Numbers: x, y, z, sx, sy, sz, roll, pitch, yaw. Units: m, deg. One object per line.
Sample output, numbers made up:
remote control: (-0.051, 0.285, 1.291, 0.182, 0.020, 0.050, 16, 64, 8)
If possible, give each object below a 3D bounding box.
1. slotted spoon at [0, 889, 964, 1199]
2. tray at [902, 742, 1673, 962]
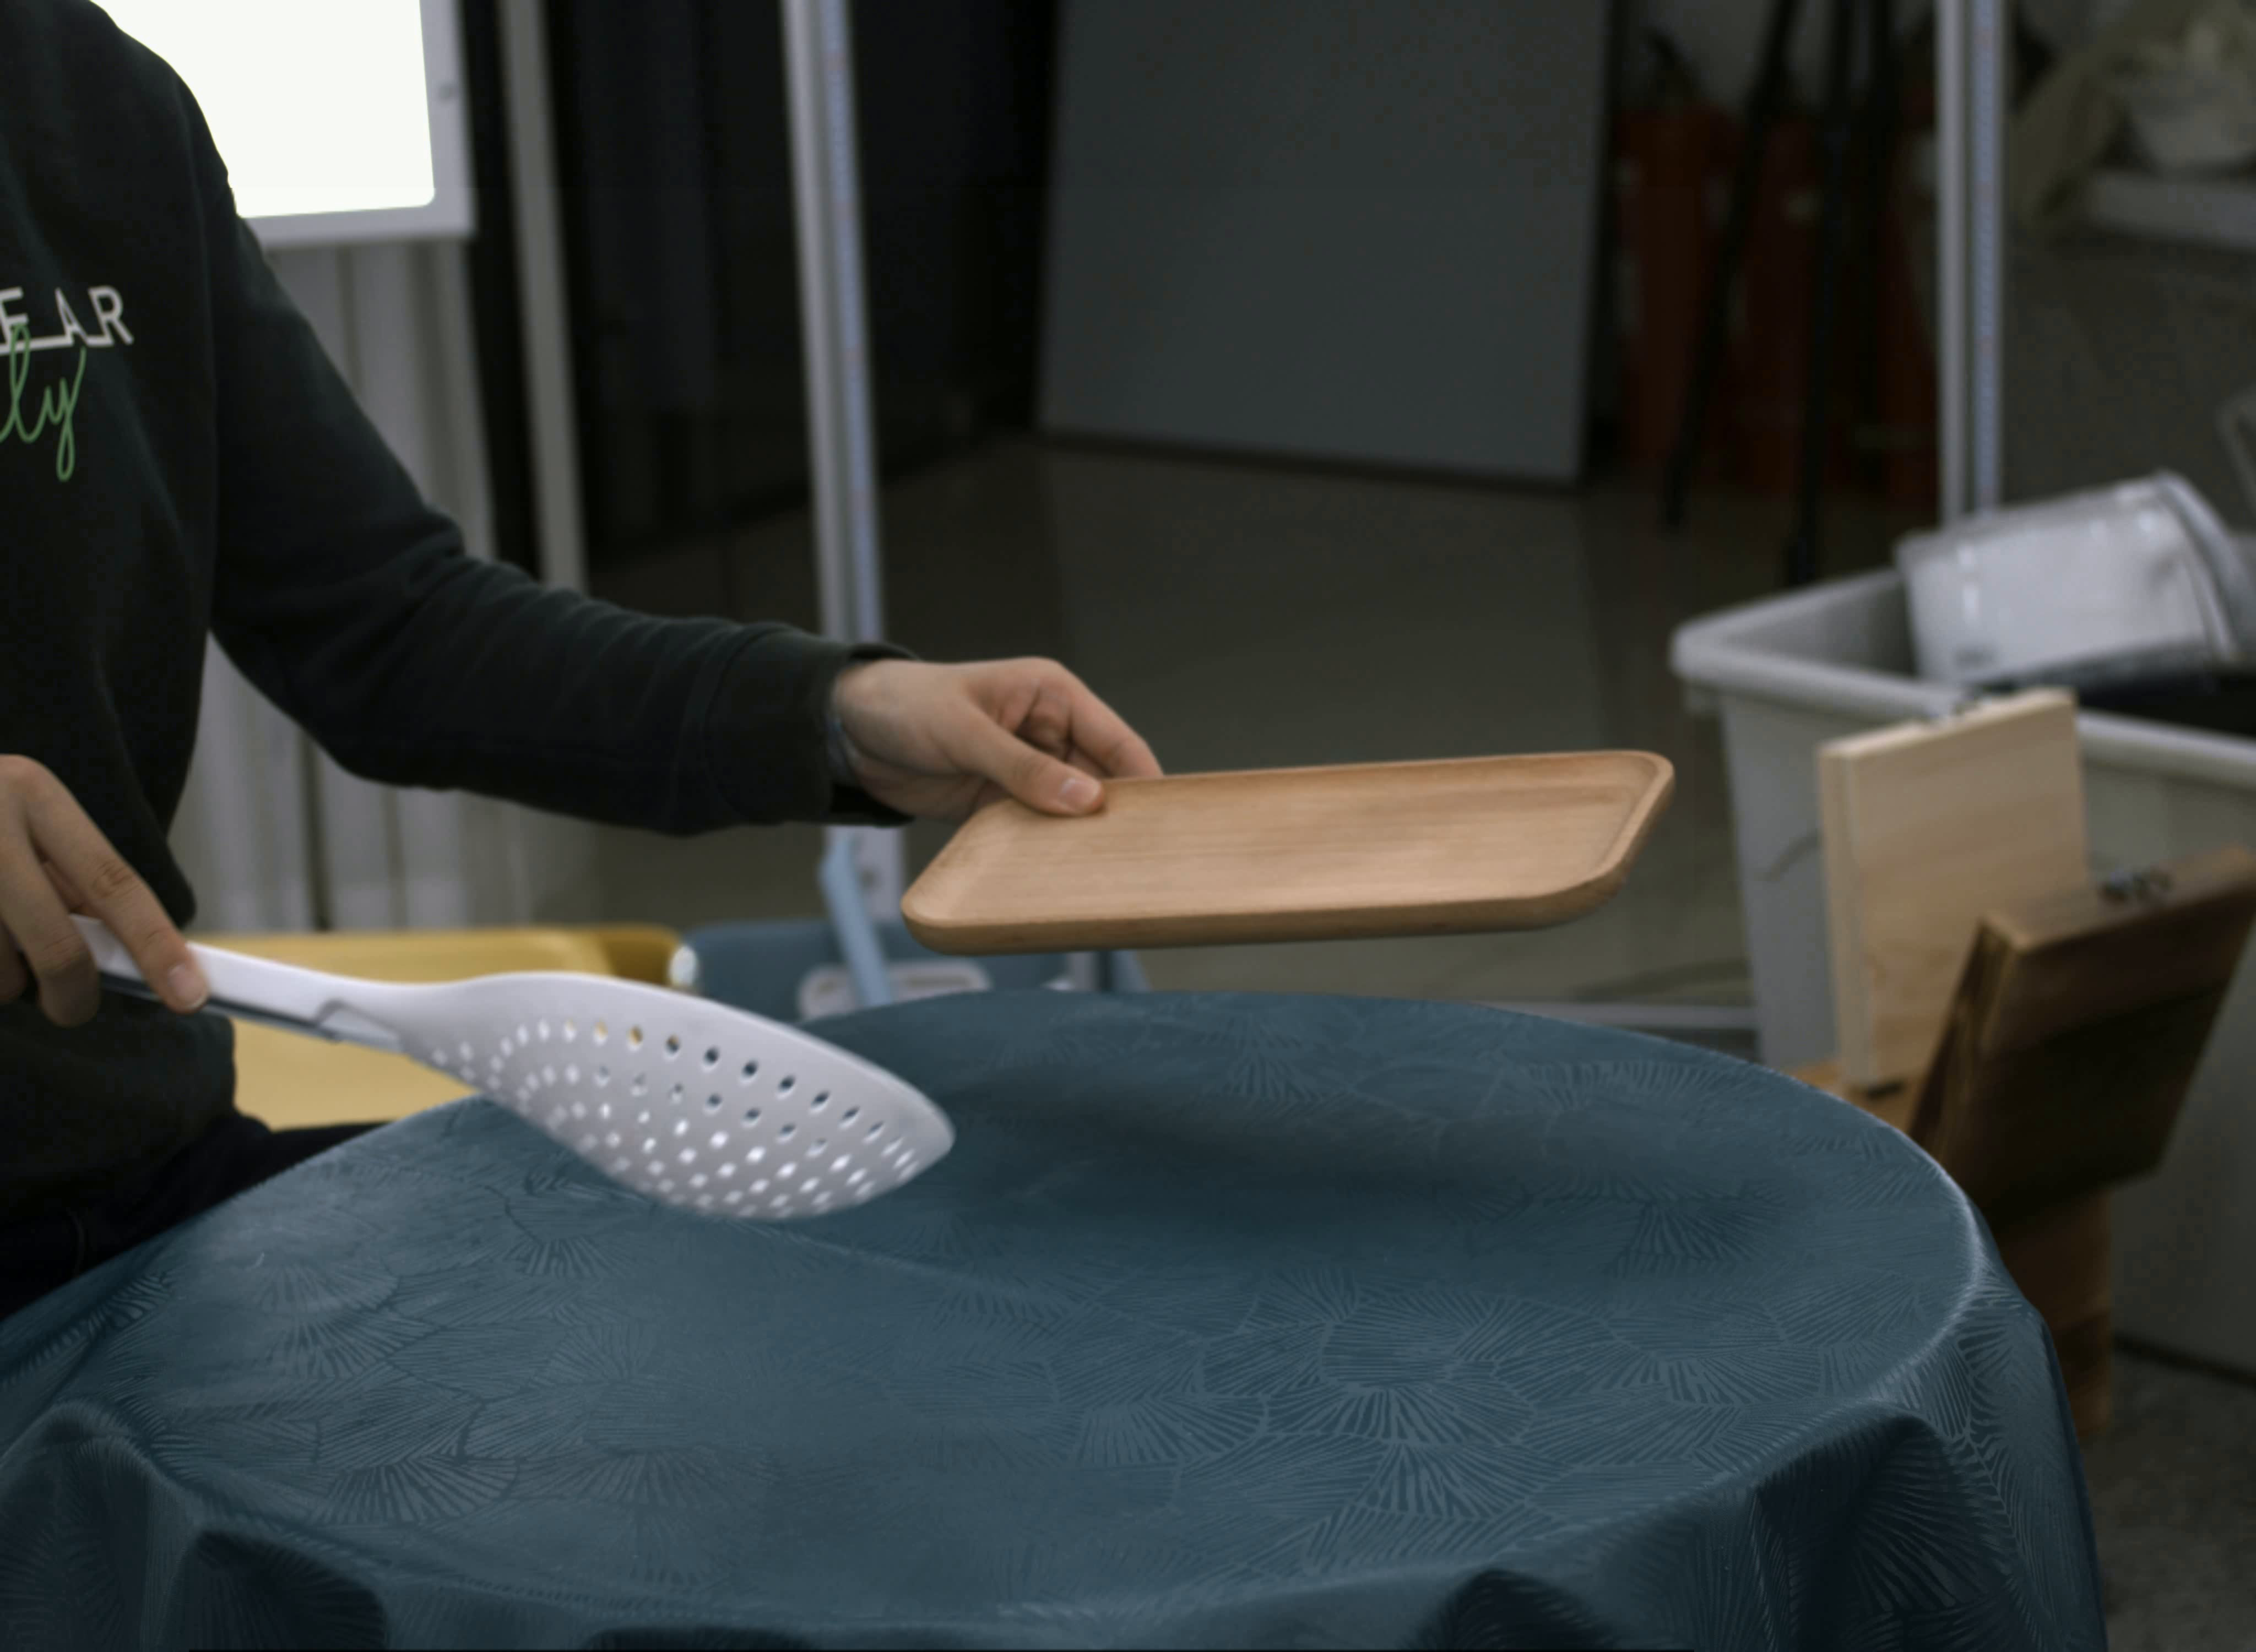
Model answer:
slotted spoon: (-0.210, 0.049, 1.533, 0.350, 0.046, 0.135, 15, -18, 24)
tray: (0.053, 0.009, 1.782, 0.250, 0.023, 0.129, -4, 19, 23)
